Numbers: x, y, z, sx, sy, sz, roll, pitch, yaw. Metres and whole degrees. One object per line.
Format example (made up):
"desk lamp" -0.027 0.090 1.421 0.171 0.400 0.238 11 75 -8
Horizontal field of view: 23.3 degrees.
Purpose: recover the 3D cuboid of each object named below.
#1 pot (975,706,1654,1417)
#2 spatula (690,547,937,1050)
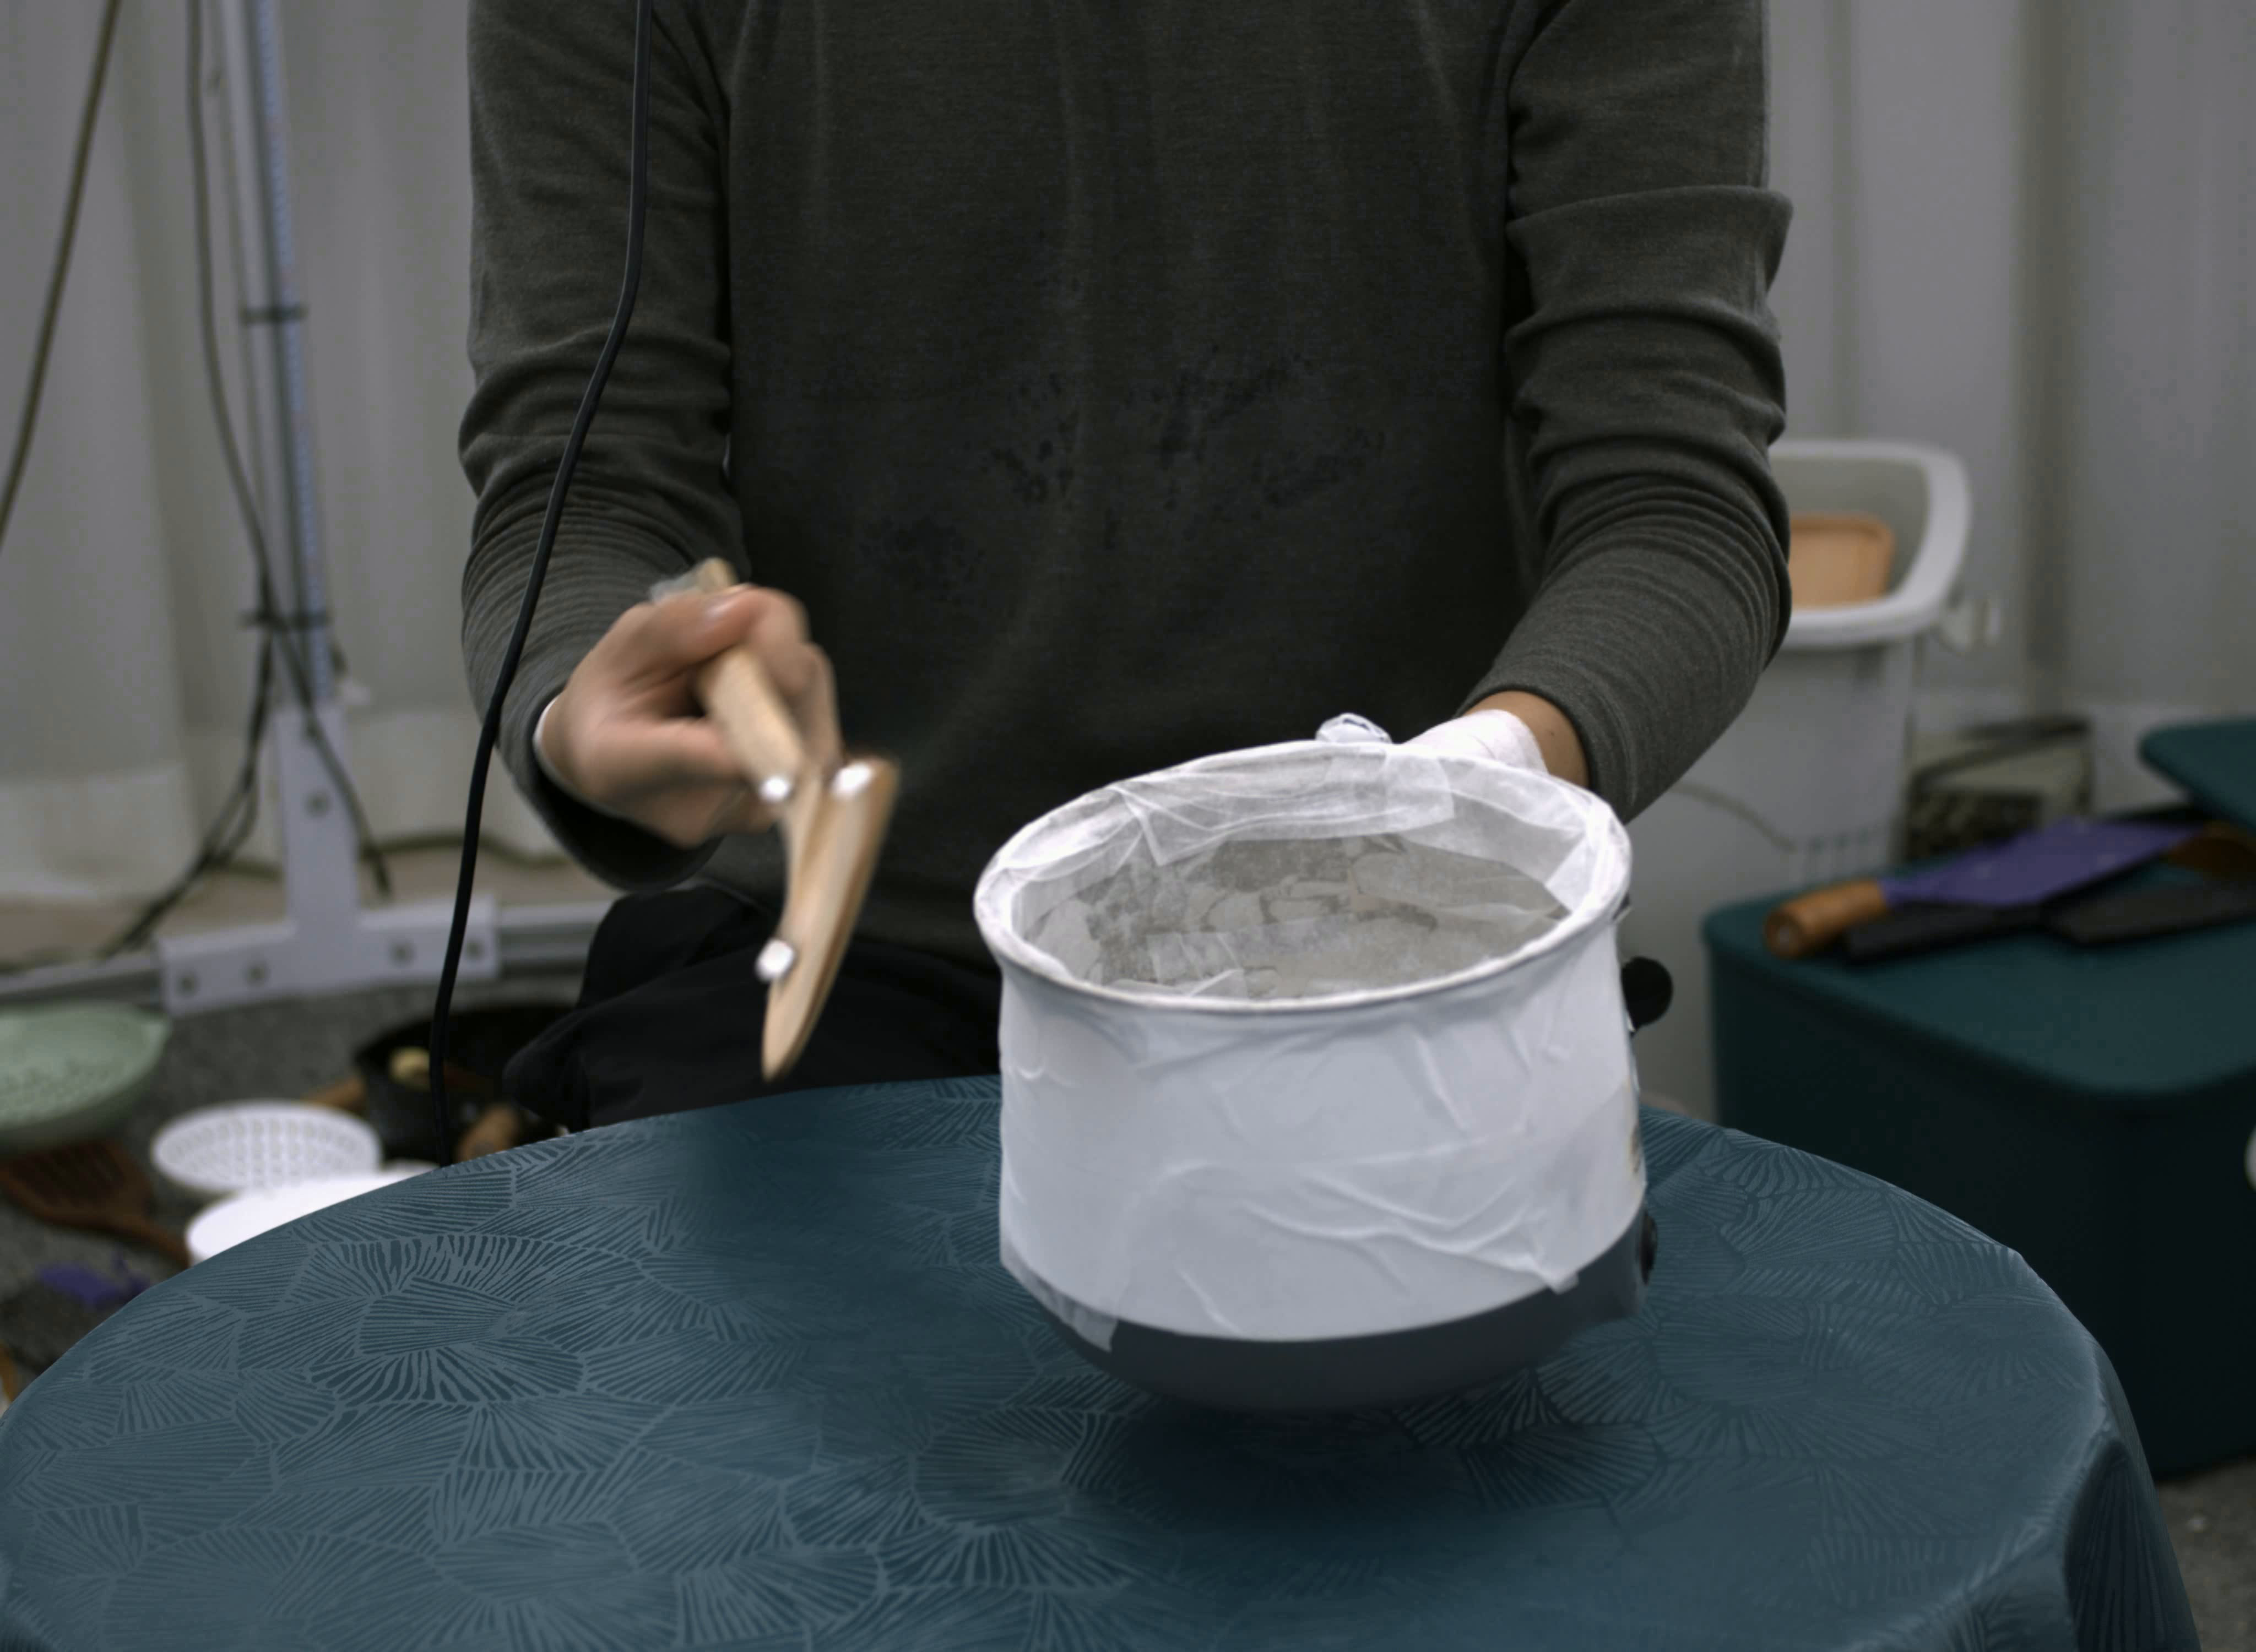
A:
"pot" 0.056 0.058 1.512 0.178 0.135 0.236 -1 23 10
"spatula" -0.098 -0.027 1.529 0.018 0.096 0.394 22 9 -16
